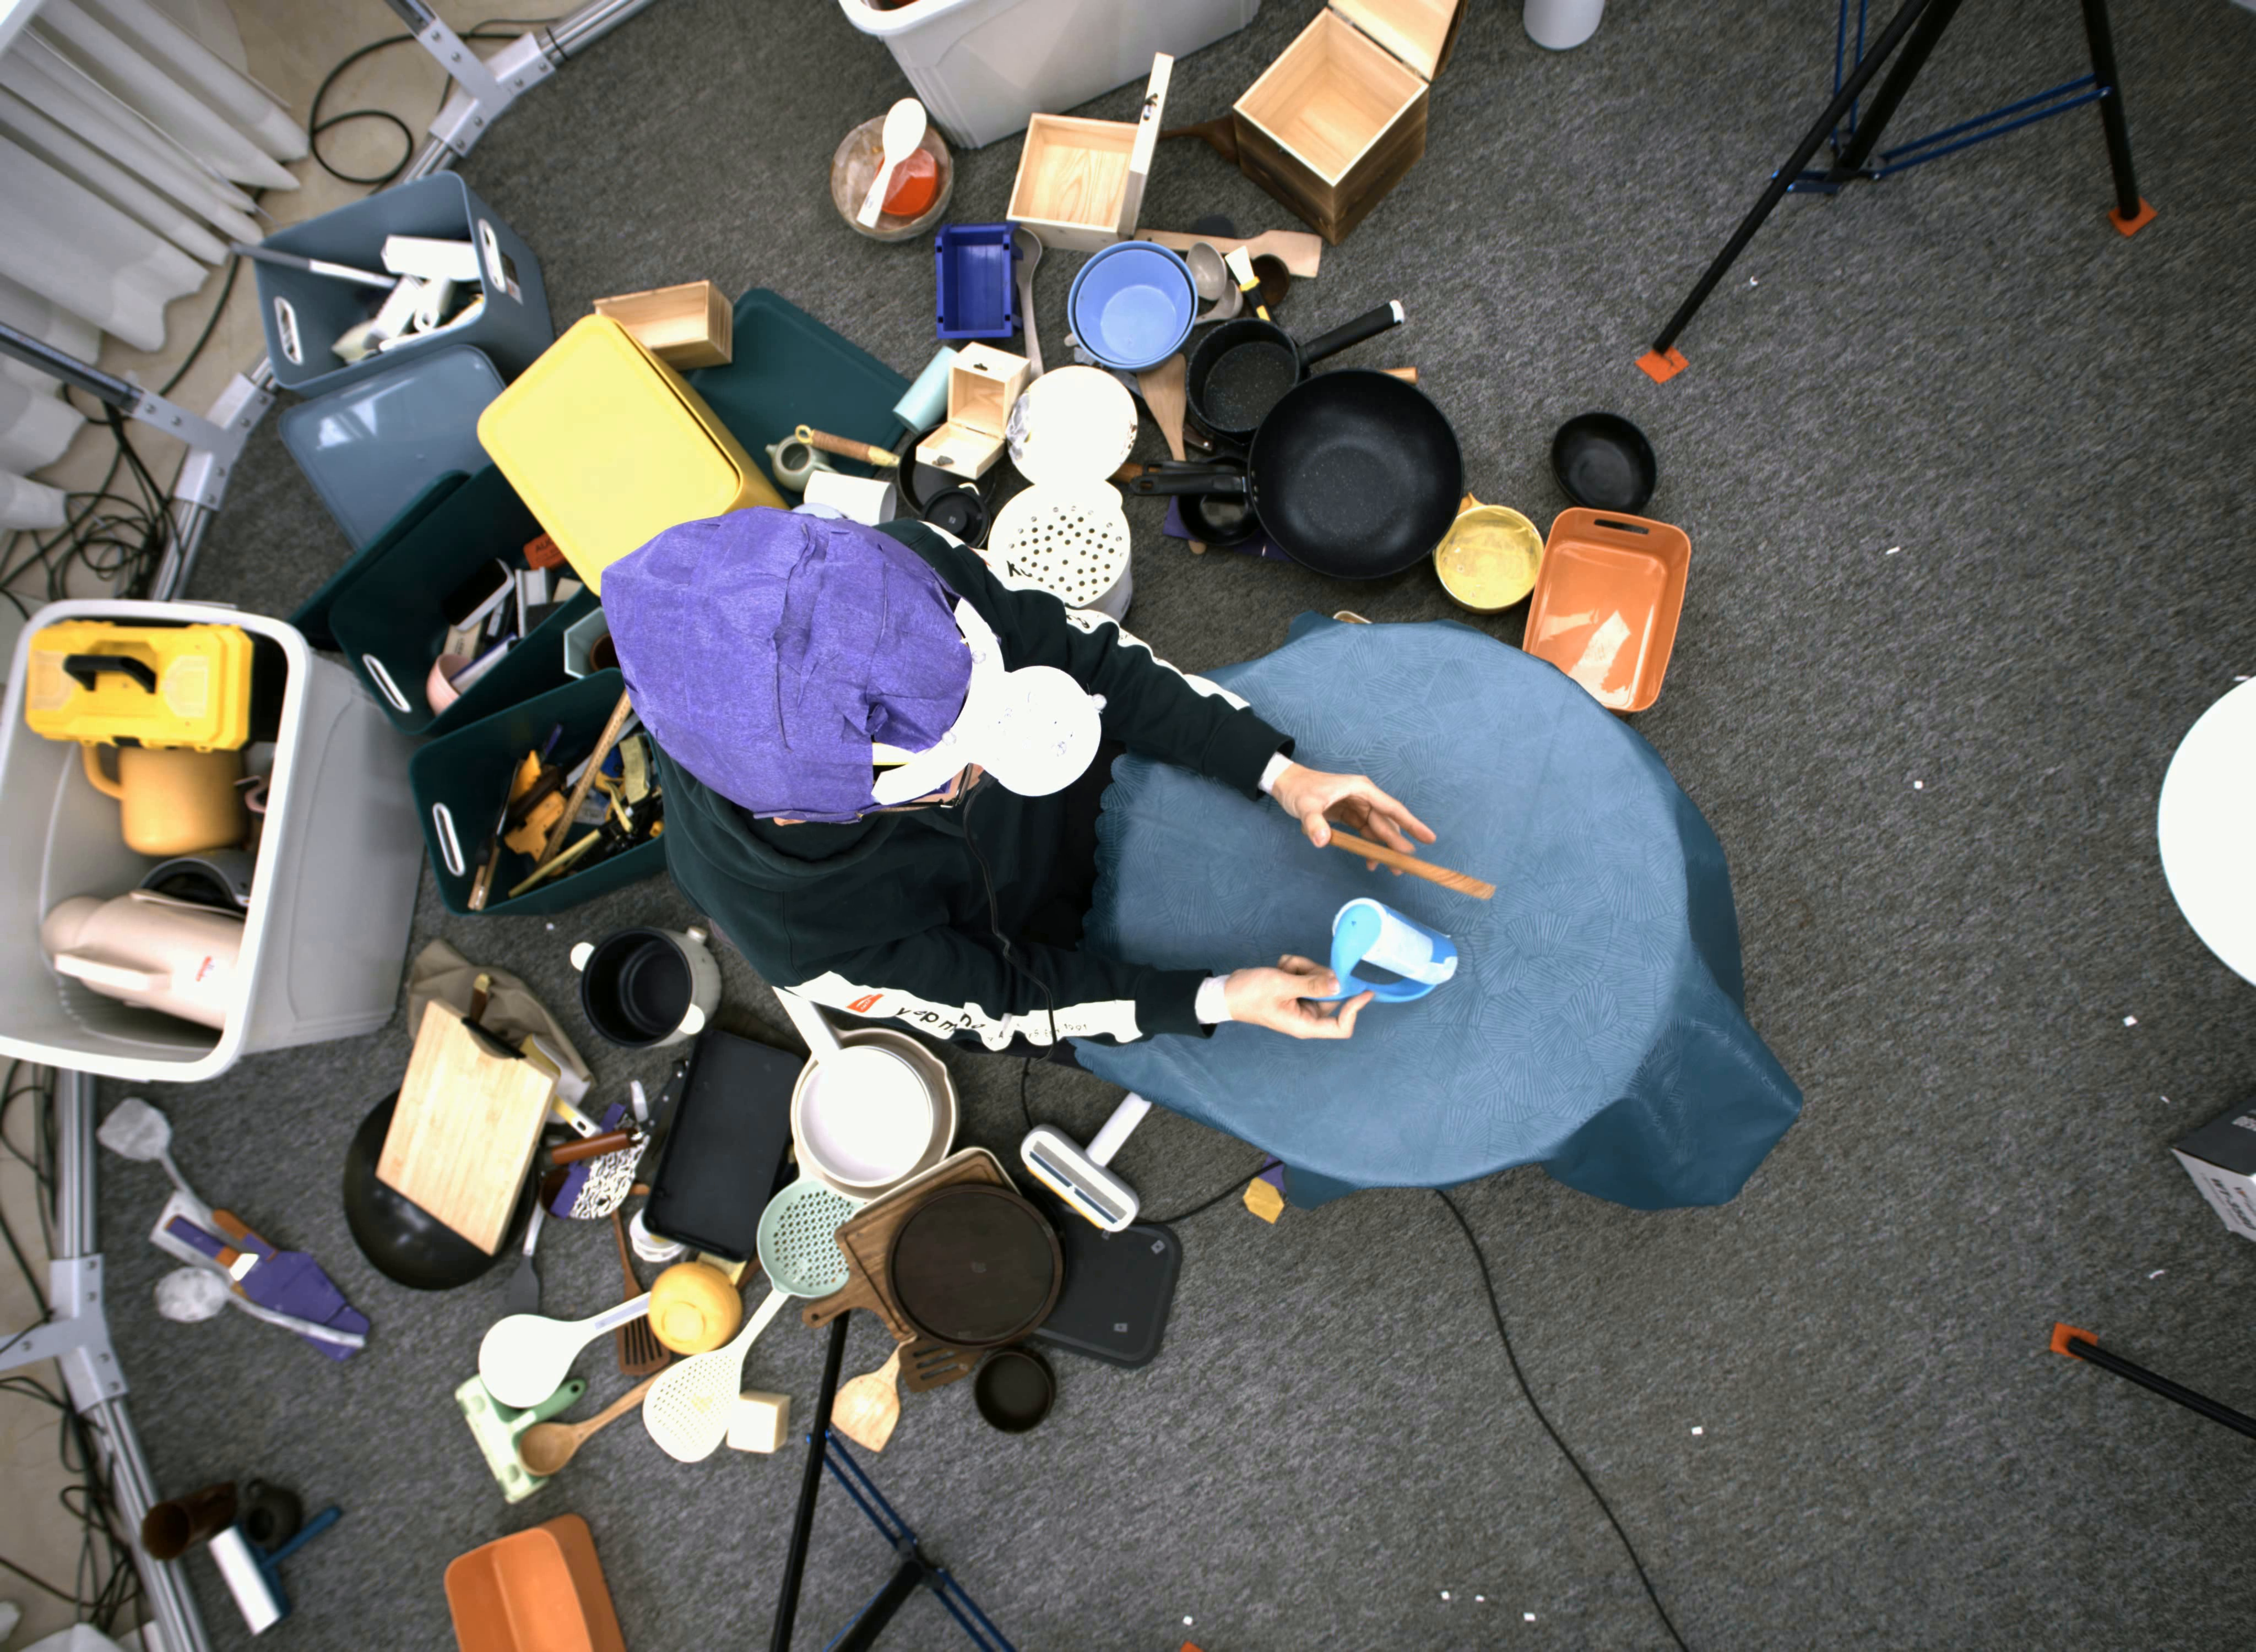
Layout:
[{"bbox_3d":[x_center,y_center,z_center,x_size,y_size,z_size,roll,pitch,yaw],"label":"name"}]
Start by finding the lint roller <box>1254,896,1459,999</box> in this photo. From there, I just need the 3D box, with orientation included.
[{"bbox_3d":[0.209,0.134,1.336,0.183,0.229,0.067,-26,66,27],"label":"lint roller"}]

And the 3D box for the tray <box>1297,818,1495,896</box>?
[{"bbox_3d":[0.252,0.028,1.323,0.230,0.102,0.020,19,91,54],"label":"tray"}]
